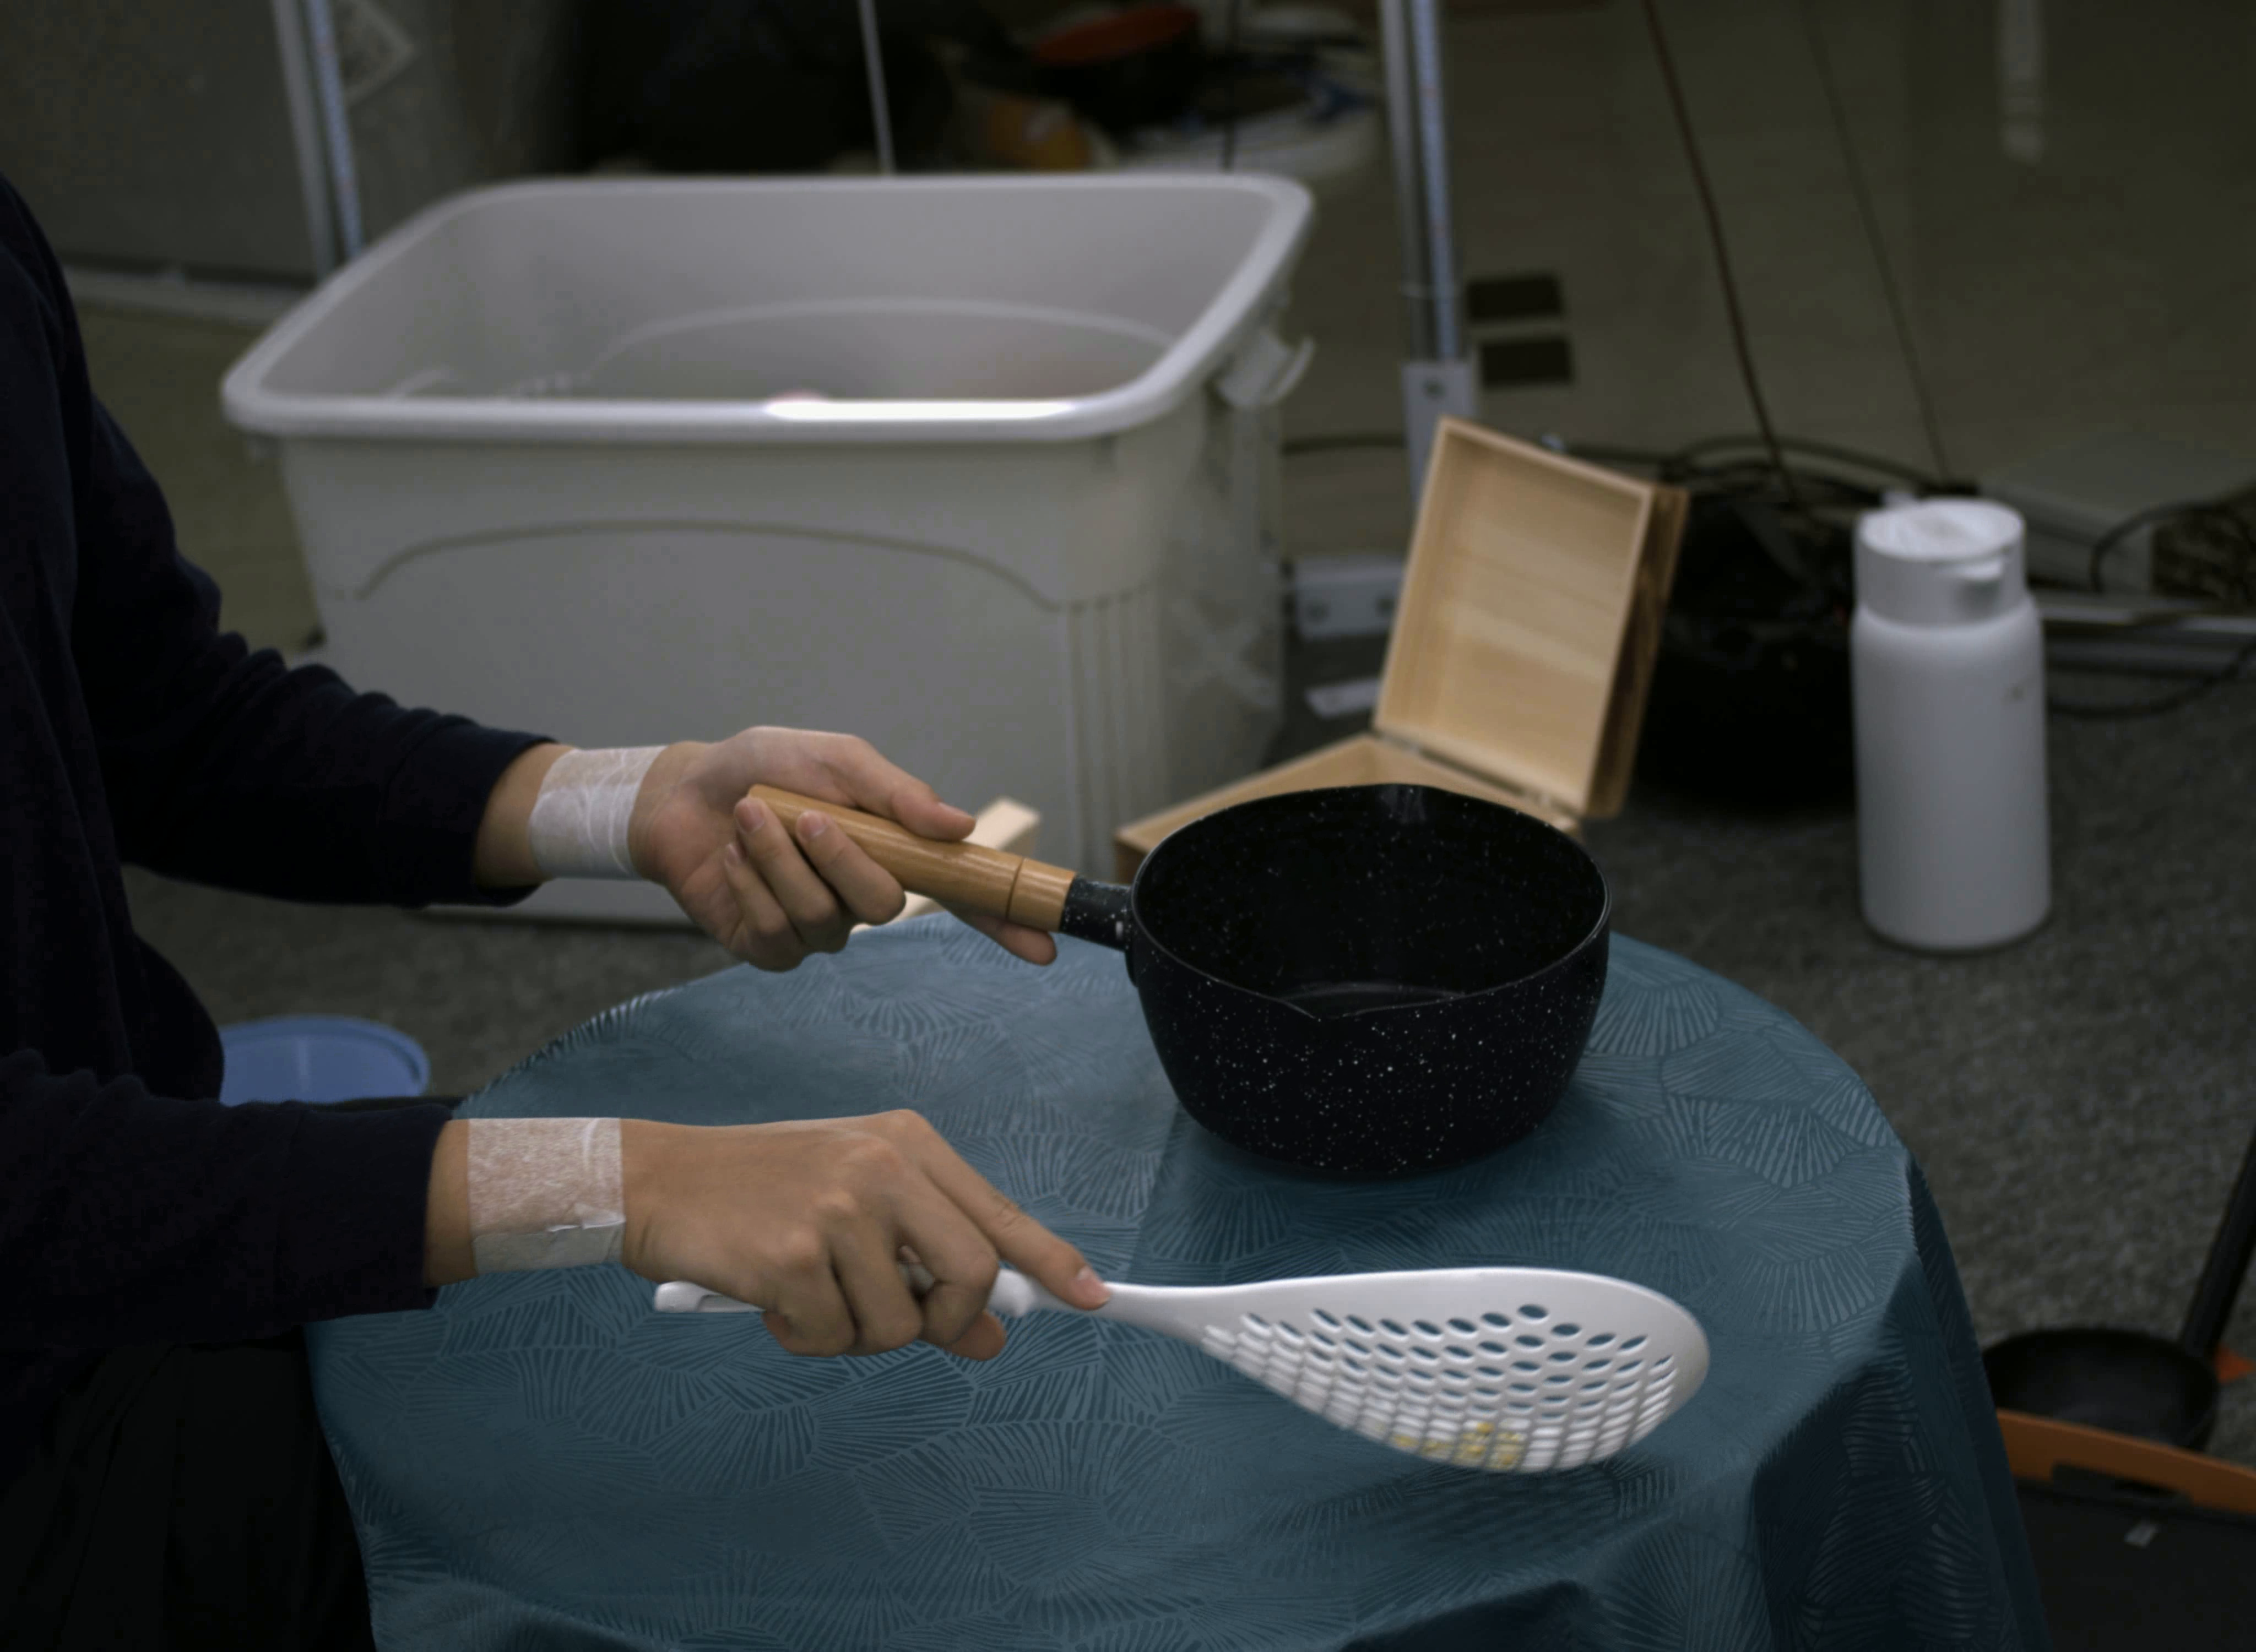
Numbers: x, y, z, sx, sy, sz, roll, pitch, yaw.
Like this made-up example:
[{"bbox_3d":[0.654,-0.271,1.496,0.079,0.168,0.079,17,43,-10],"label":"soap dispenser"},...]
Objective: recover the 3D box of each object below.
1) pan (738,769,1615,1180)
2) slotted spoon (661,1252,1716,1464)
[{"bbox_3d":[0.015,0.046,2.183,0.342,0.110,0.204,5,29,9],"label":"pan"},{"bbox_3d":[0.020,0.167,1.879,0.347,0.139,0.049,11,64,-2],"label":"slotted spoon"}]
